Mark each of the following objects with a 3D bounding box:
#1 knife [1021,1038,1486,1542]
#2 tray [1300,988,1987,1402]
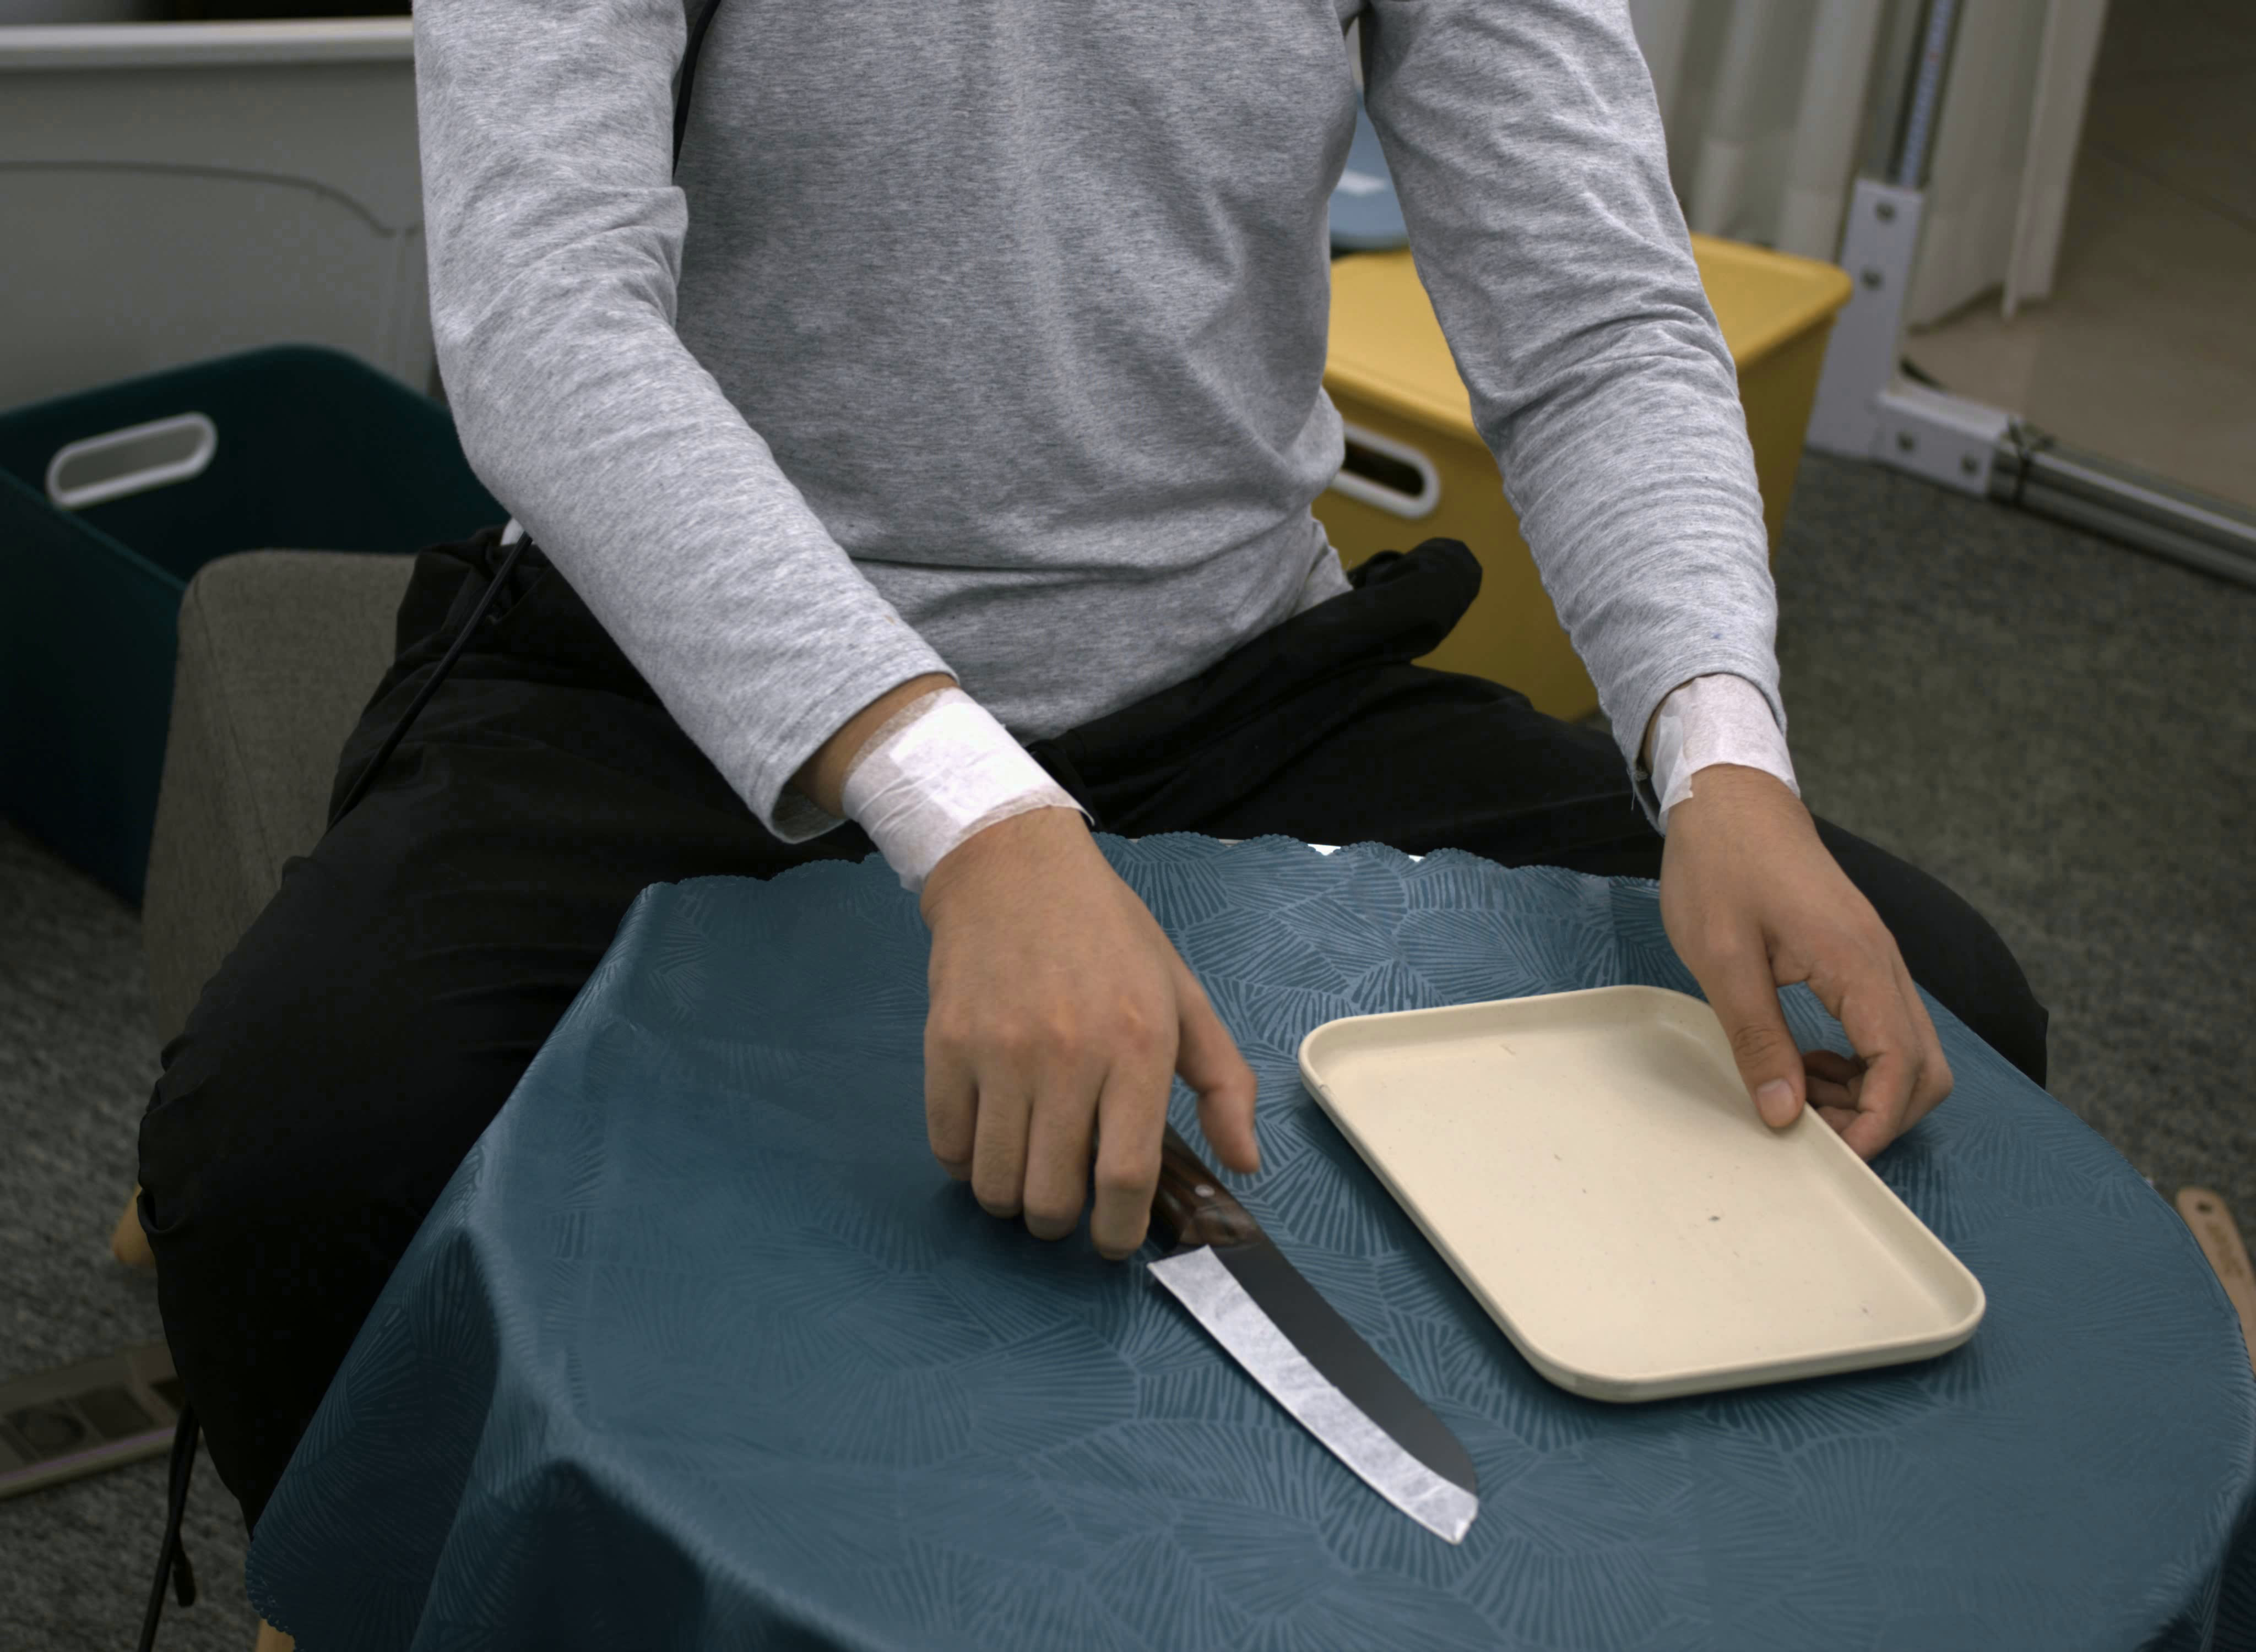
[{"bbox_3d":[0.038,0.150,1.745,0.050,0.020,0.292,-13,35,-25],"label":"knife"},{"bbox_3d":[0.172,0.125,1.823,0.170,0.017,0.242,-5,29,-22],"label":"tray"}]
